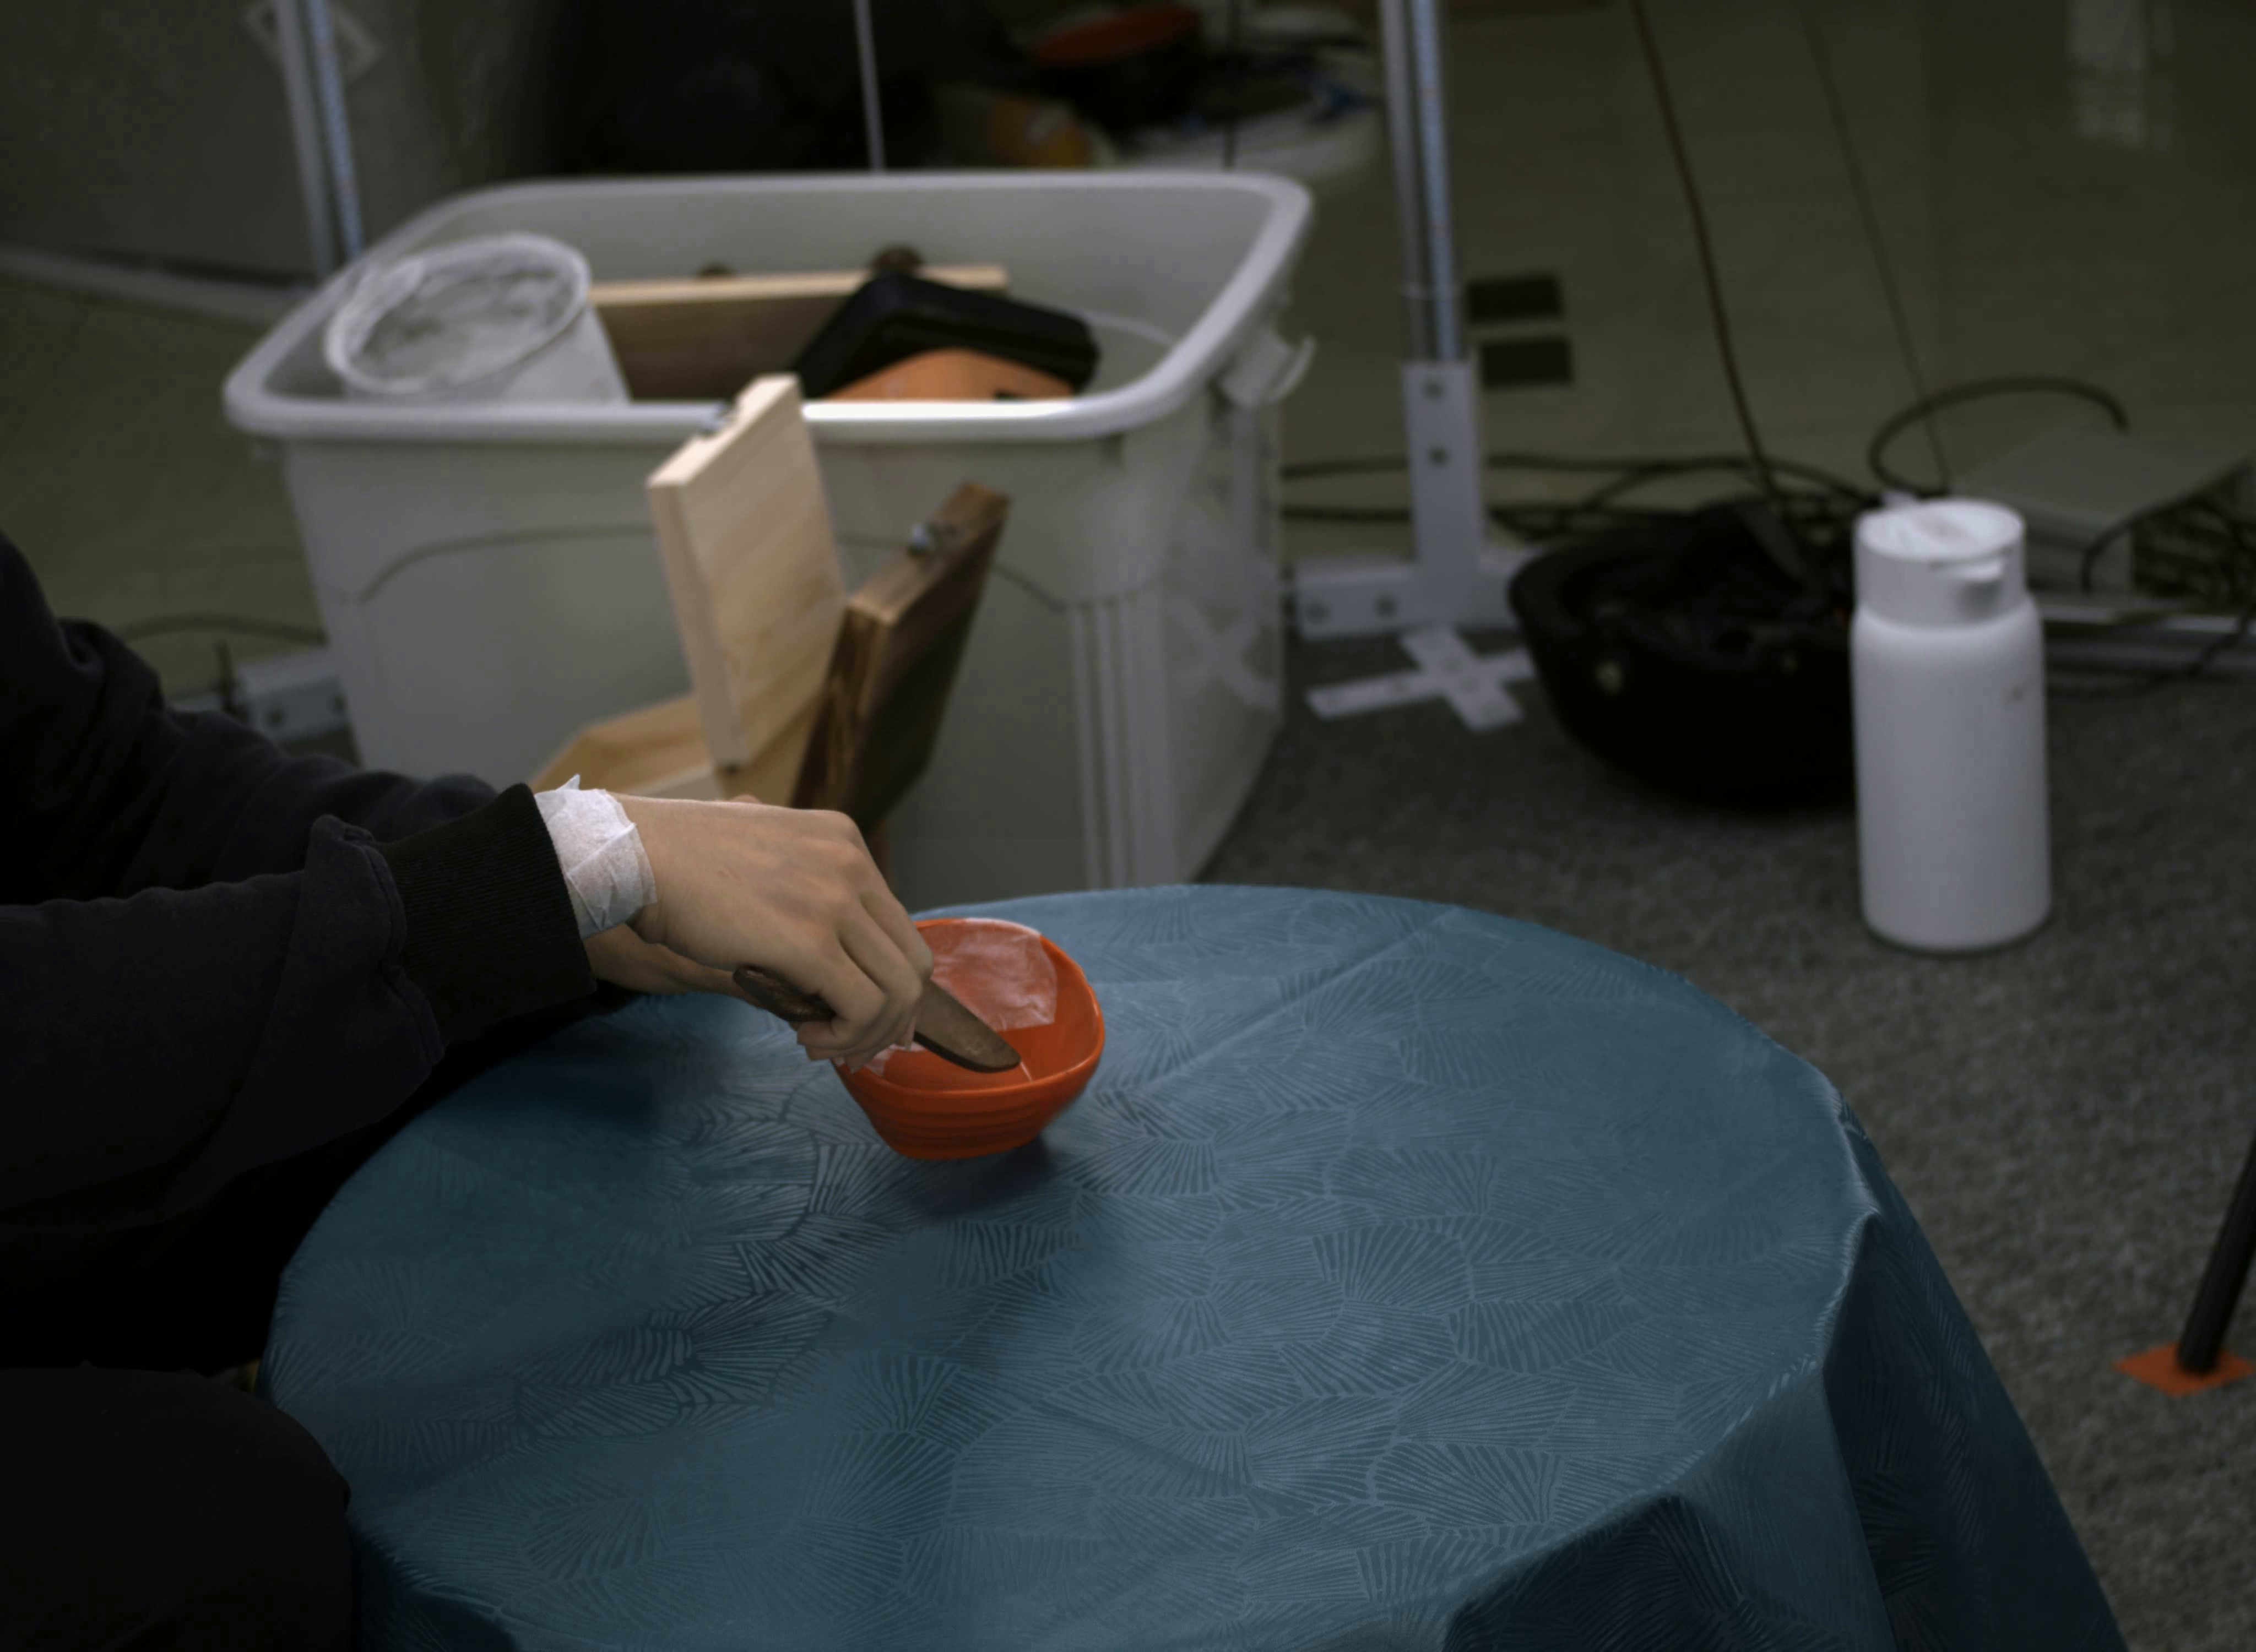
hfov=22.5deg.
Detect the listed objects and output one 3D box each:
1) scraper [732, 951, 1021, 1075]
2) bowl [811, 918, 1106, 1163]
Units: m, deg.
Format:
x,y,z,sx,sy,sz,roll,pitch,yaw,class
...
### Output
x,y,z,sx,sy,sz,roll,pitch,yaw,class
-0.099,0.067,2.096,0.075,0.011,0.212,39,8,16,scraper
-0.068,0.089,2.196,0.119,0.052,0.117,5,37,-4,bowl
